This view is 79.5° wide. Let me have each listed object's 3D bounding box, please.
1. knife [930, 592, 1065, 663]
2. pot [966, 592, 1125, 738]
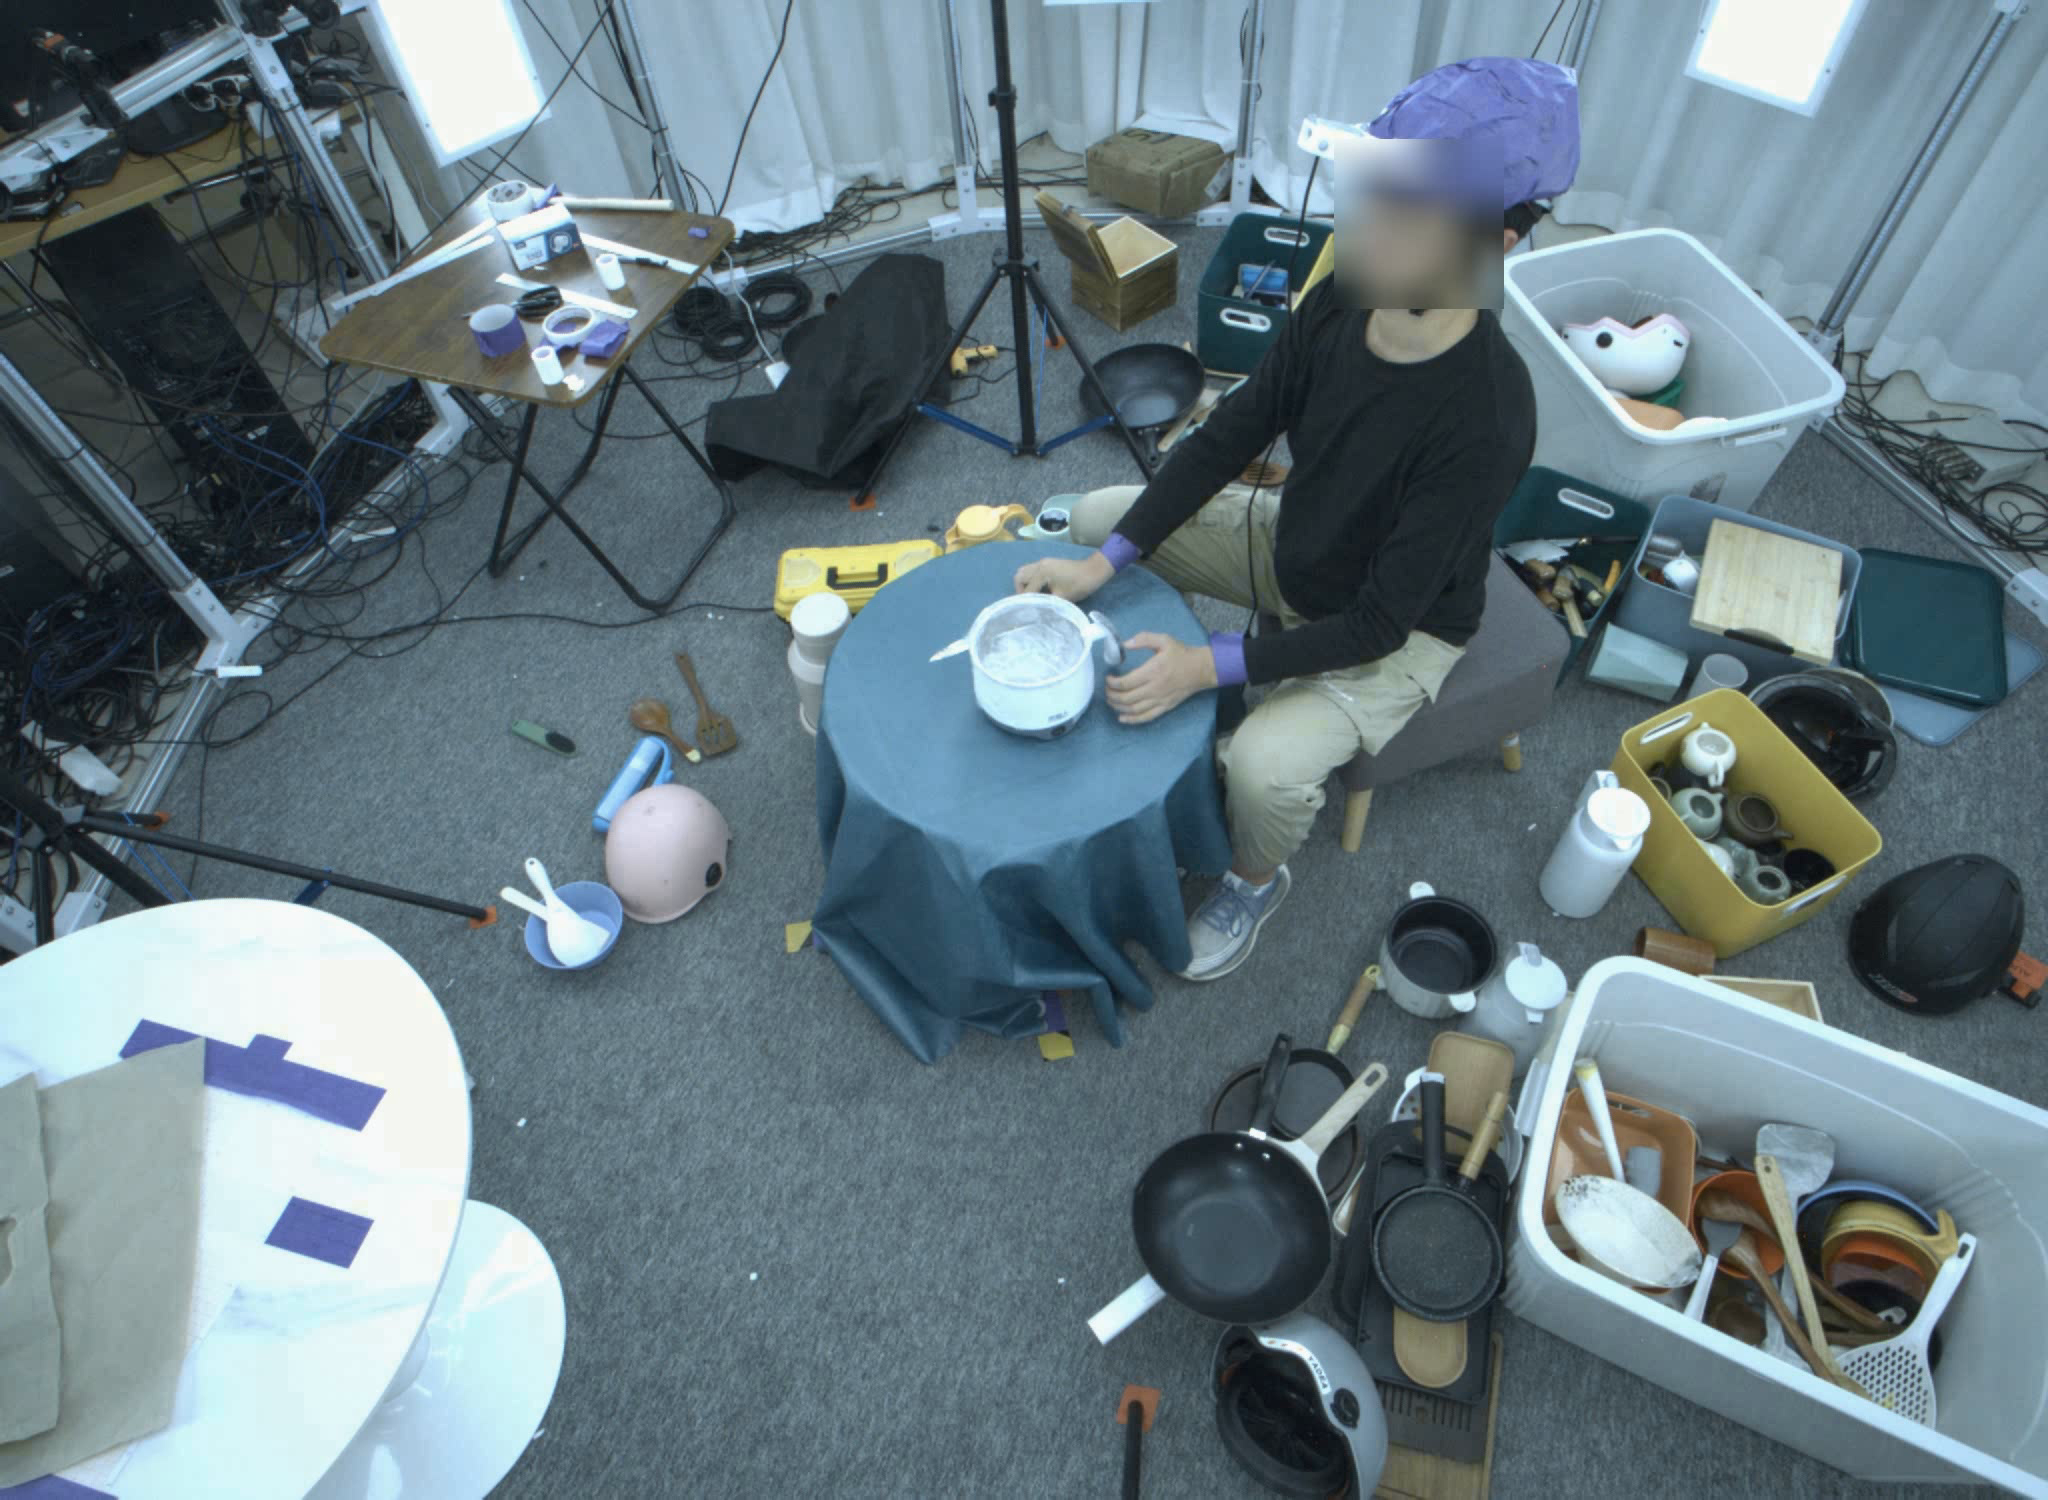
[{"bbox_3d":[-0.043,-0.191,1.914,0.240,0.016,0.024,-28,71,-13],"label":"knife"},{"bbox_3d":[0.036,-0.132,1.789,0.235,0.138,0.175,-23,57,-12],"label":"pot"}]
